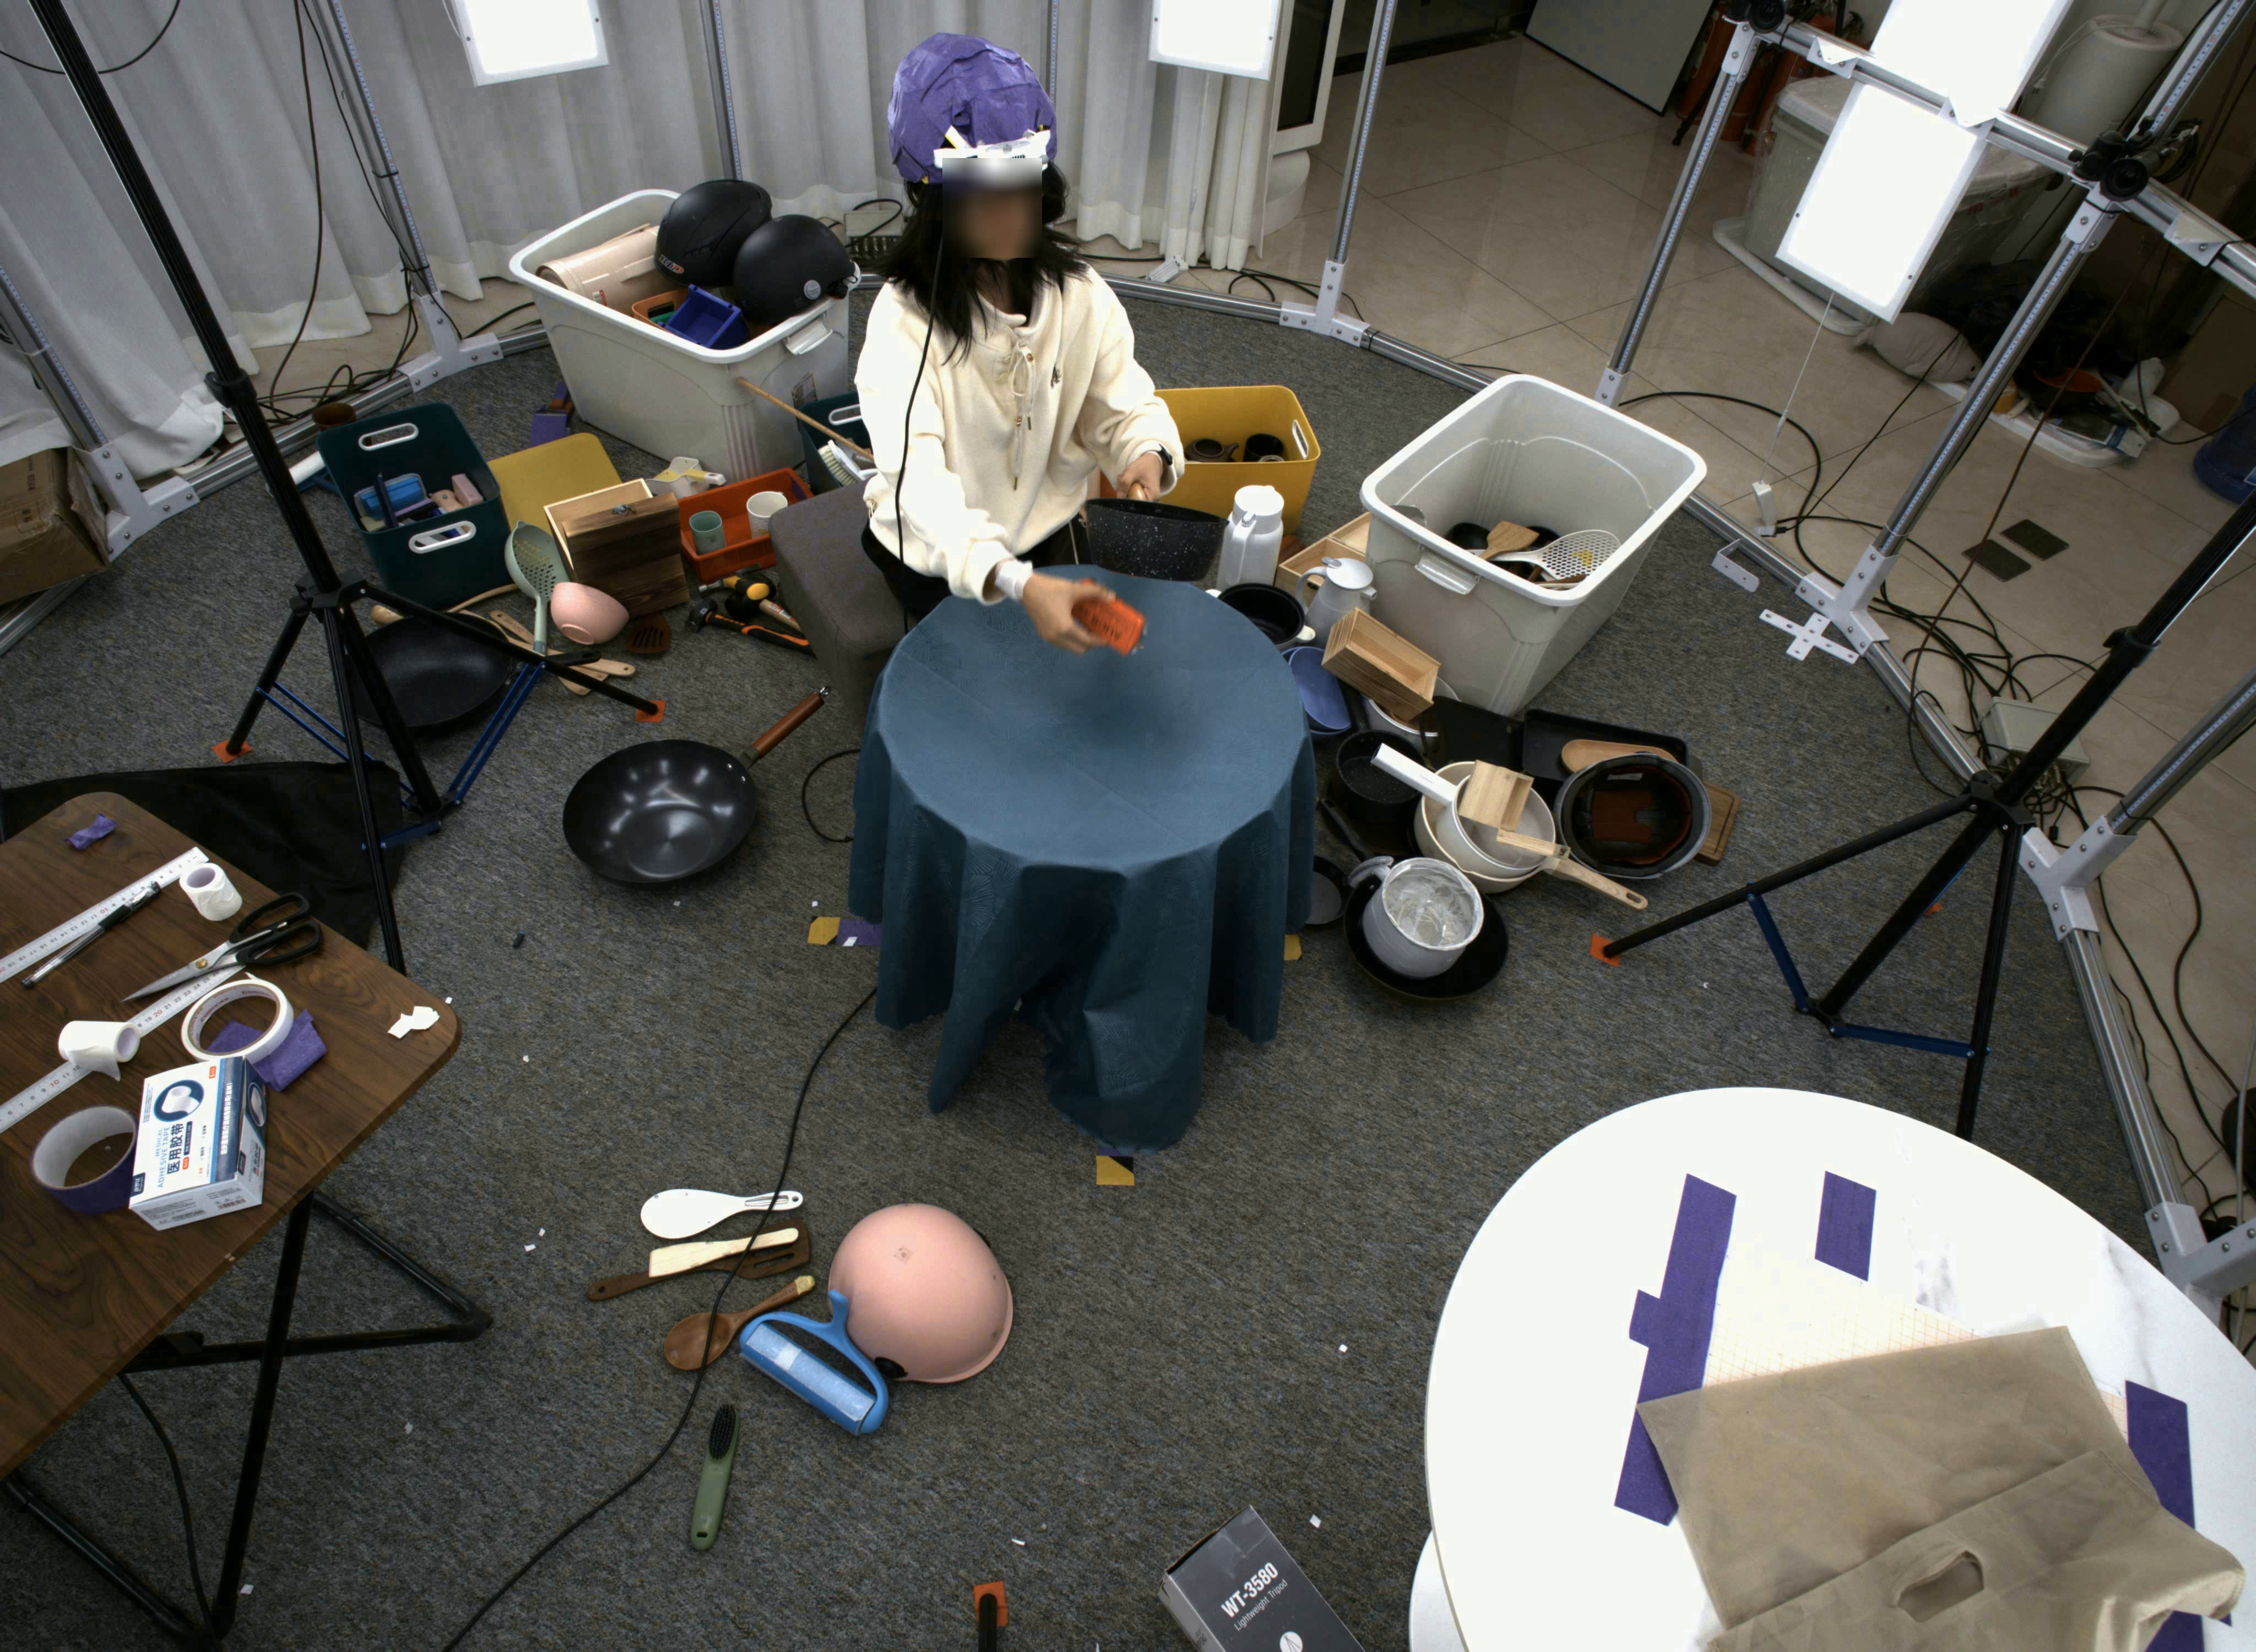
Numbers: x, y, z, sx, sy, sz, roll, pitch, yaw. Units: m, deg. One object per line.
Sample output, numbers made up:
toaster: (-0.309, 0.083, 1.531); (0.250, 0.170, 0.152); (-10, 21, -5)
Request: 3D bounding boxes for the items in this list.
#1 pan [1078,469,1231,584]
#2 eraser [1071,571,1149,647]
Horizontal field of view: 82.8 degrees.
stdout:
pan: (0.021, -0.424, 1.801); (0.207, 0.106, 0.349); (4, 21, -12)
eraser: (-0.025, -0.287, 1.701); (0.109, 0.058, 0.023); (37, 42, 19)
